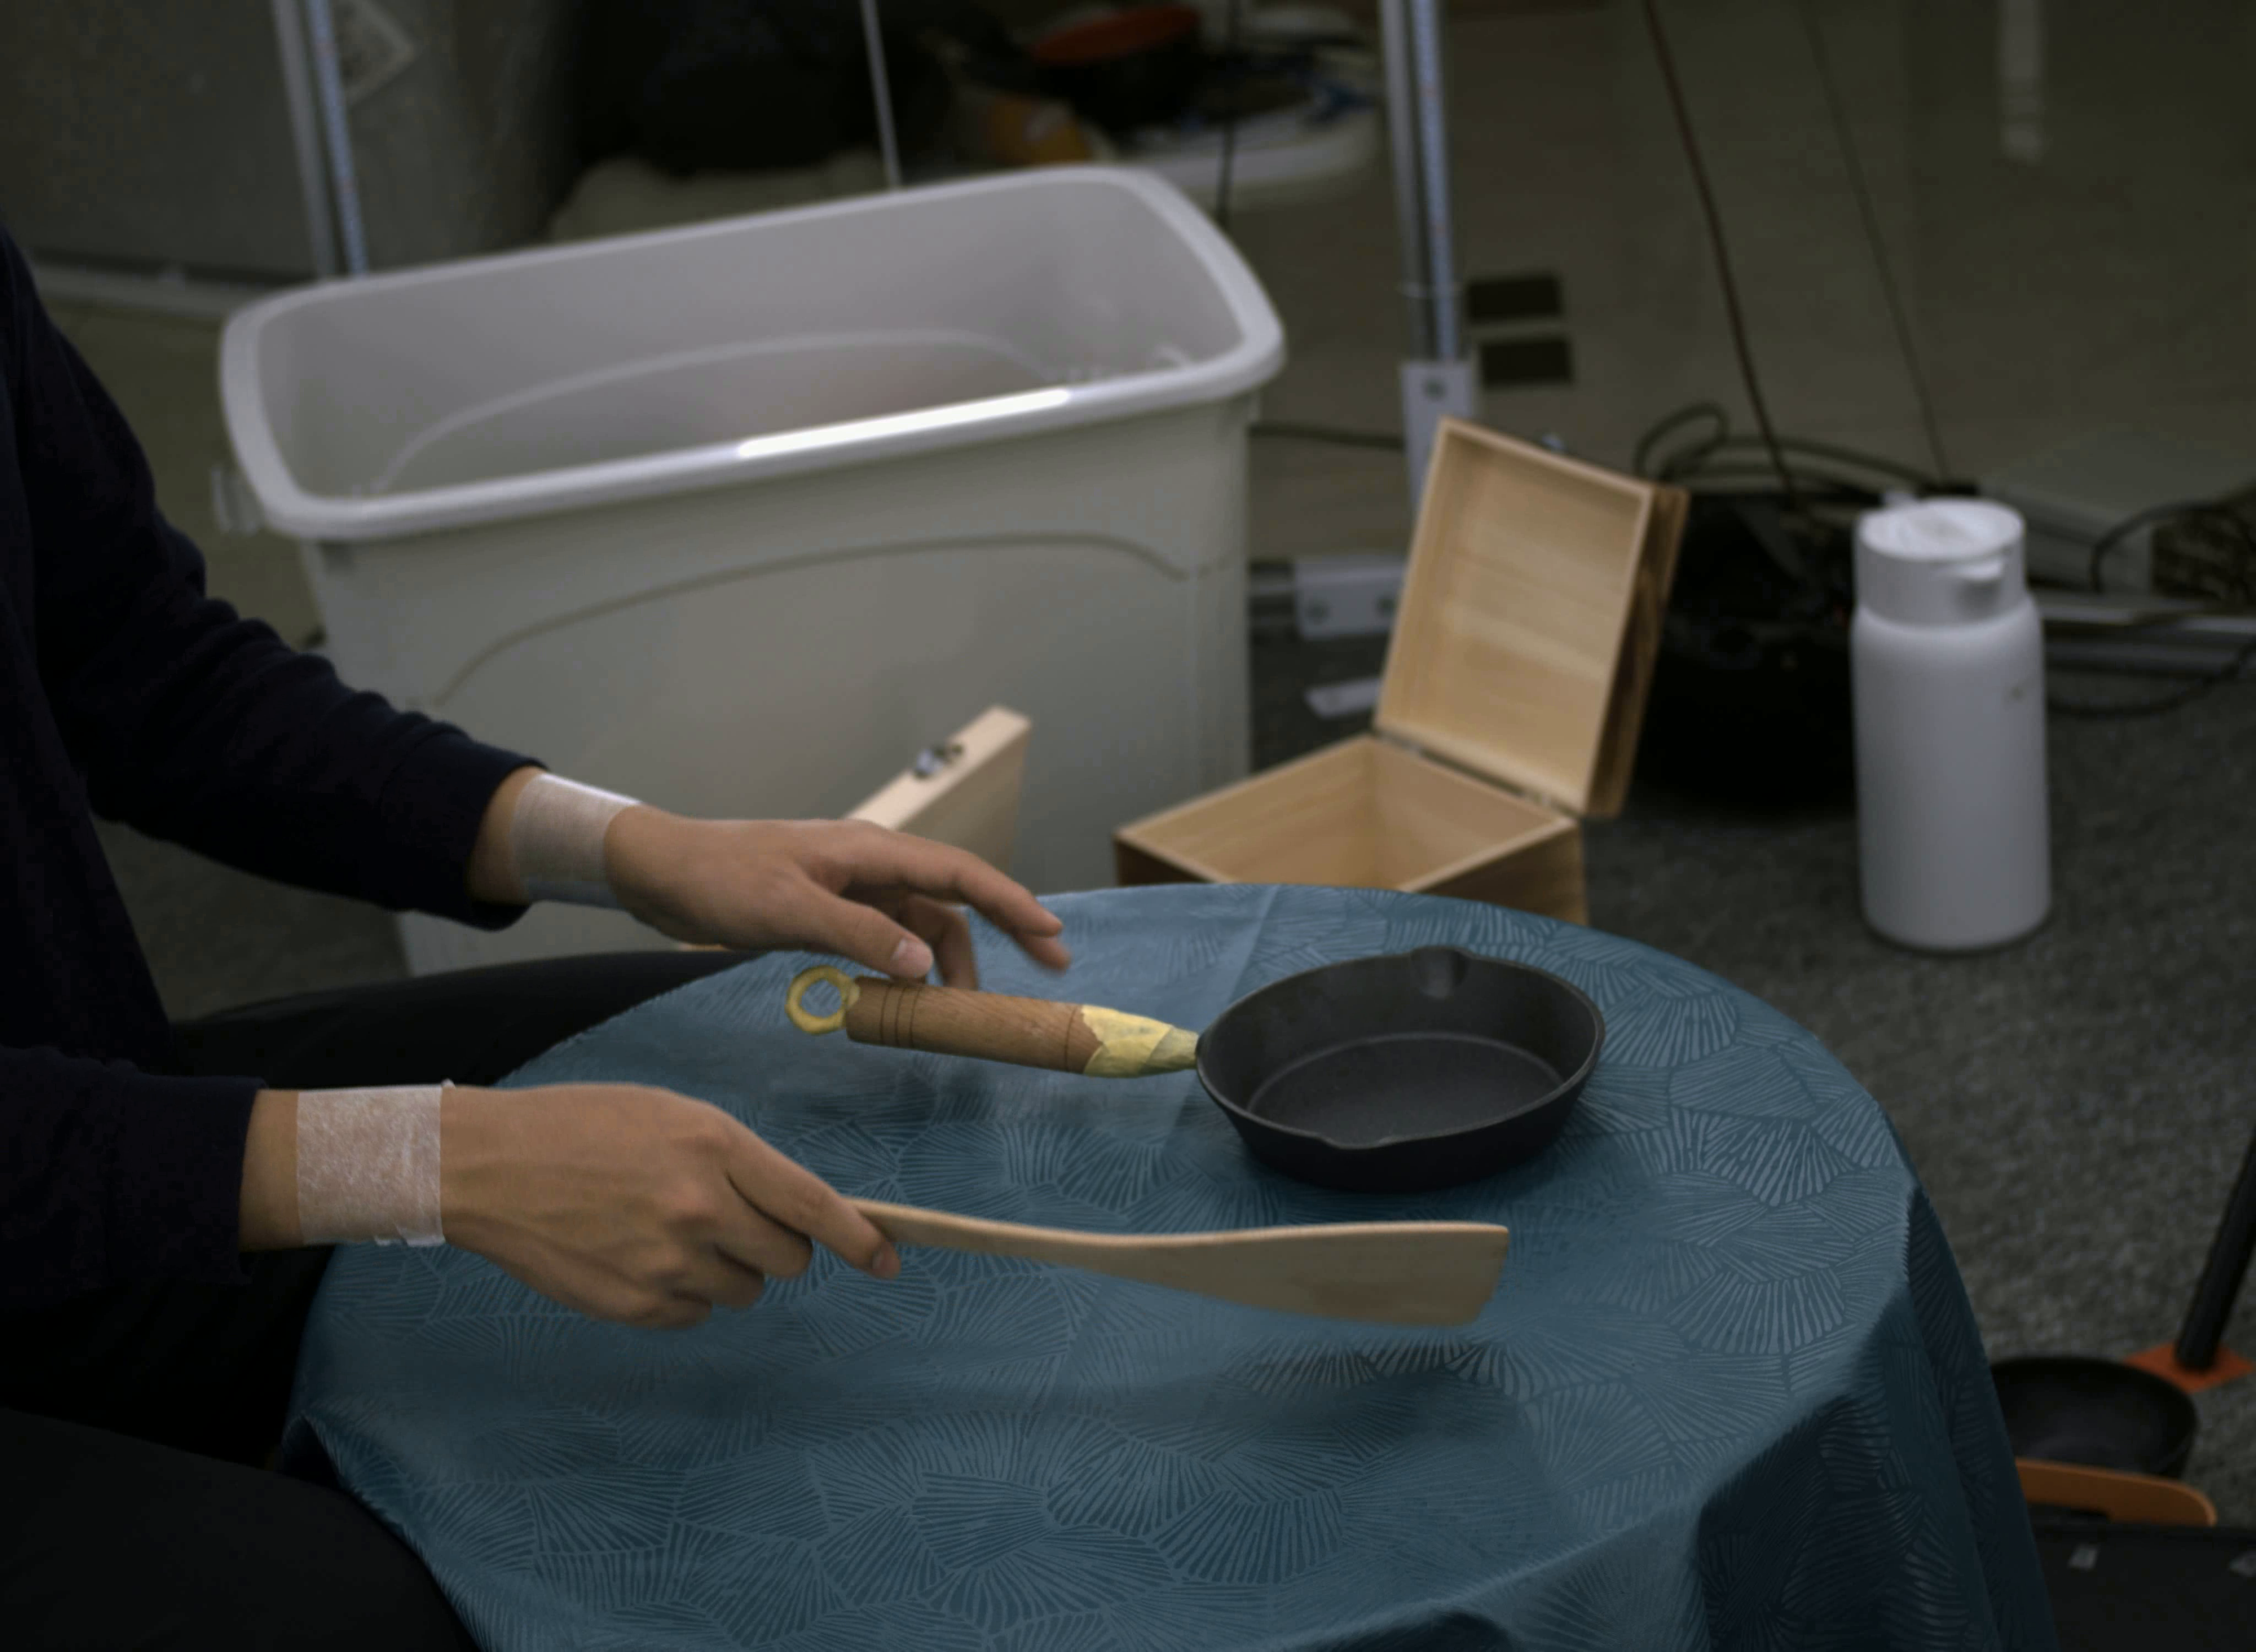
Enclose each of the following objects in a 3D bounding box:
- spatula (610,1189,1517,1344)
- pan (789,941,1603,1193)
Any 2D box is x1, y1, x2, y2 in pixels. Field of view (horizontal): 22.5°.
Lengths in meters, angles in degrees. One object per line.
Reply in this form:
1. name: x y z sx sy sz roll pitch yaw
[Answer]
1. spatula: -0.024 0.150 2.007 0.327 0.081 0.016 6 58 10
2. pan: 0.024 0.086 2.193 0.323 0.050 0.166 3 27 17
